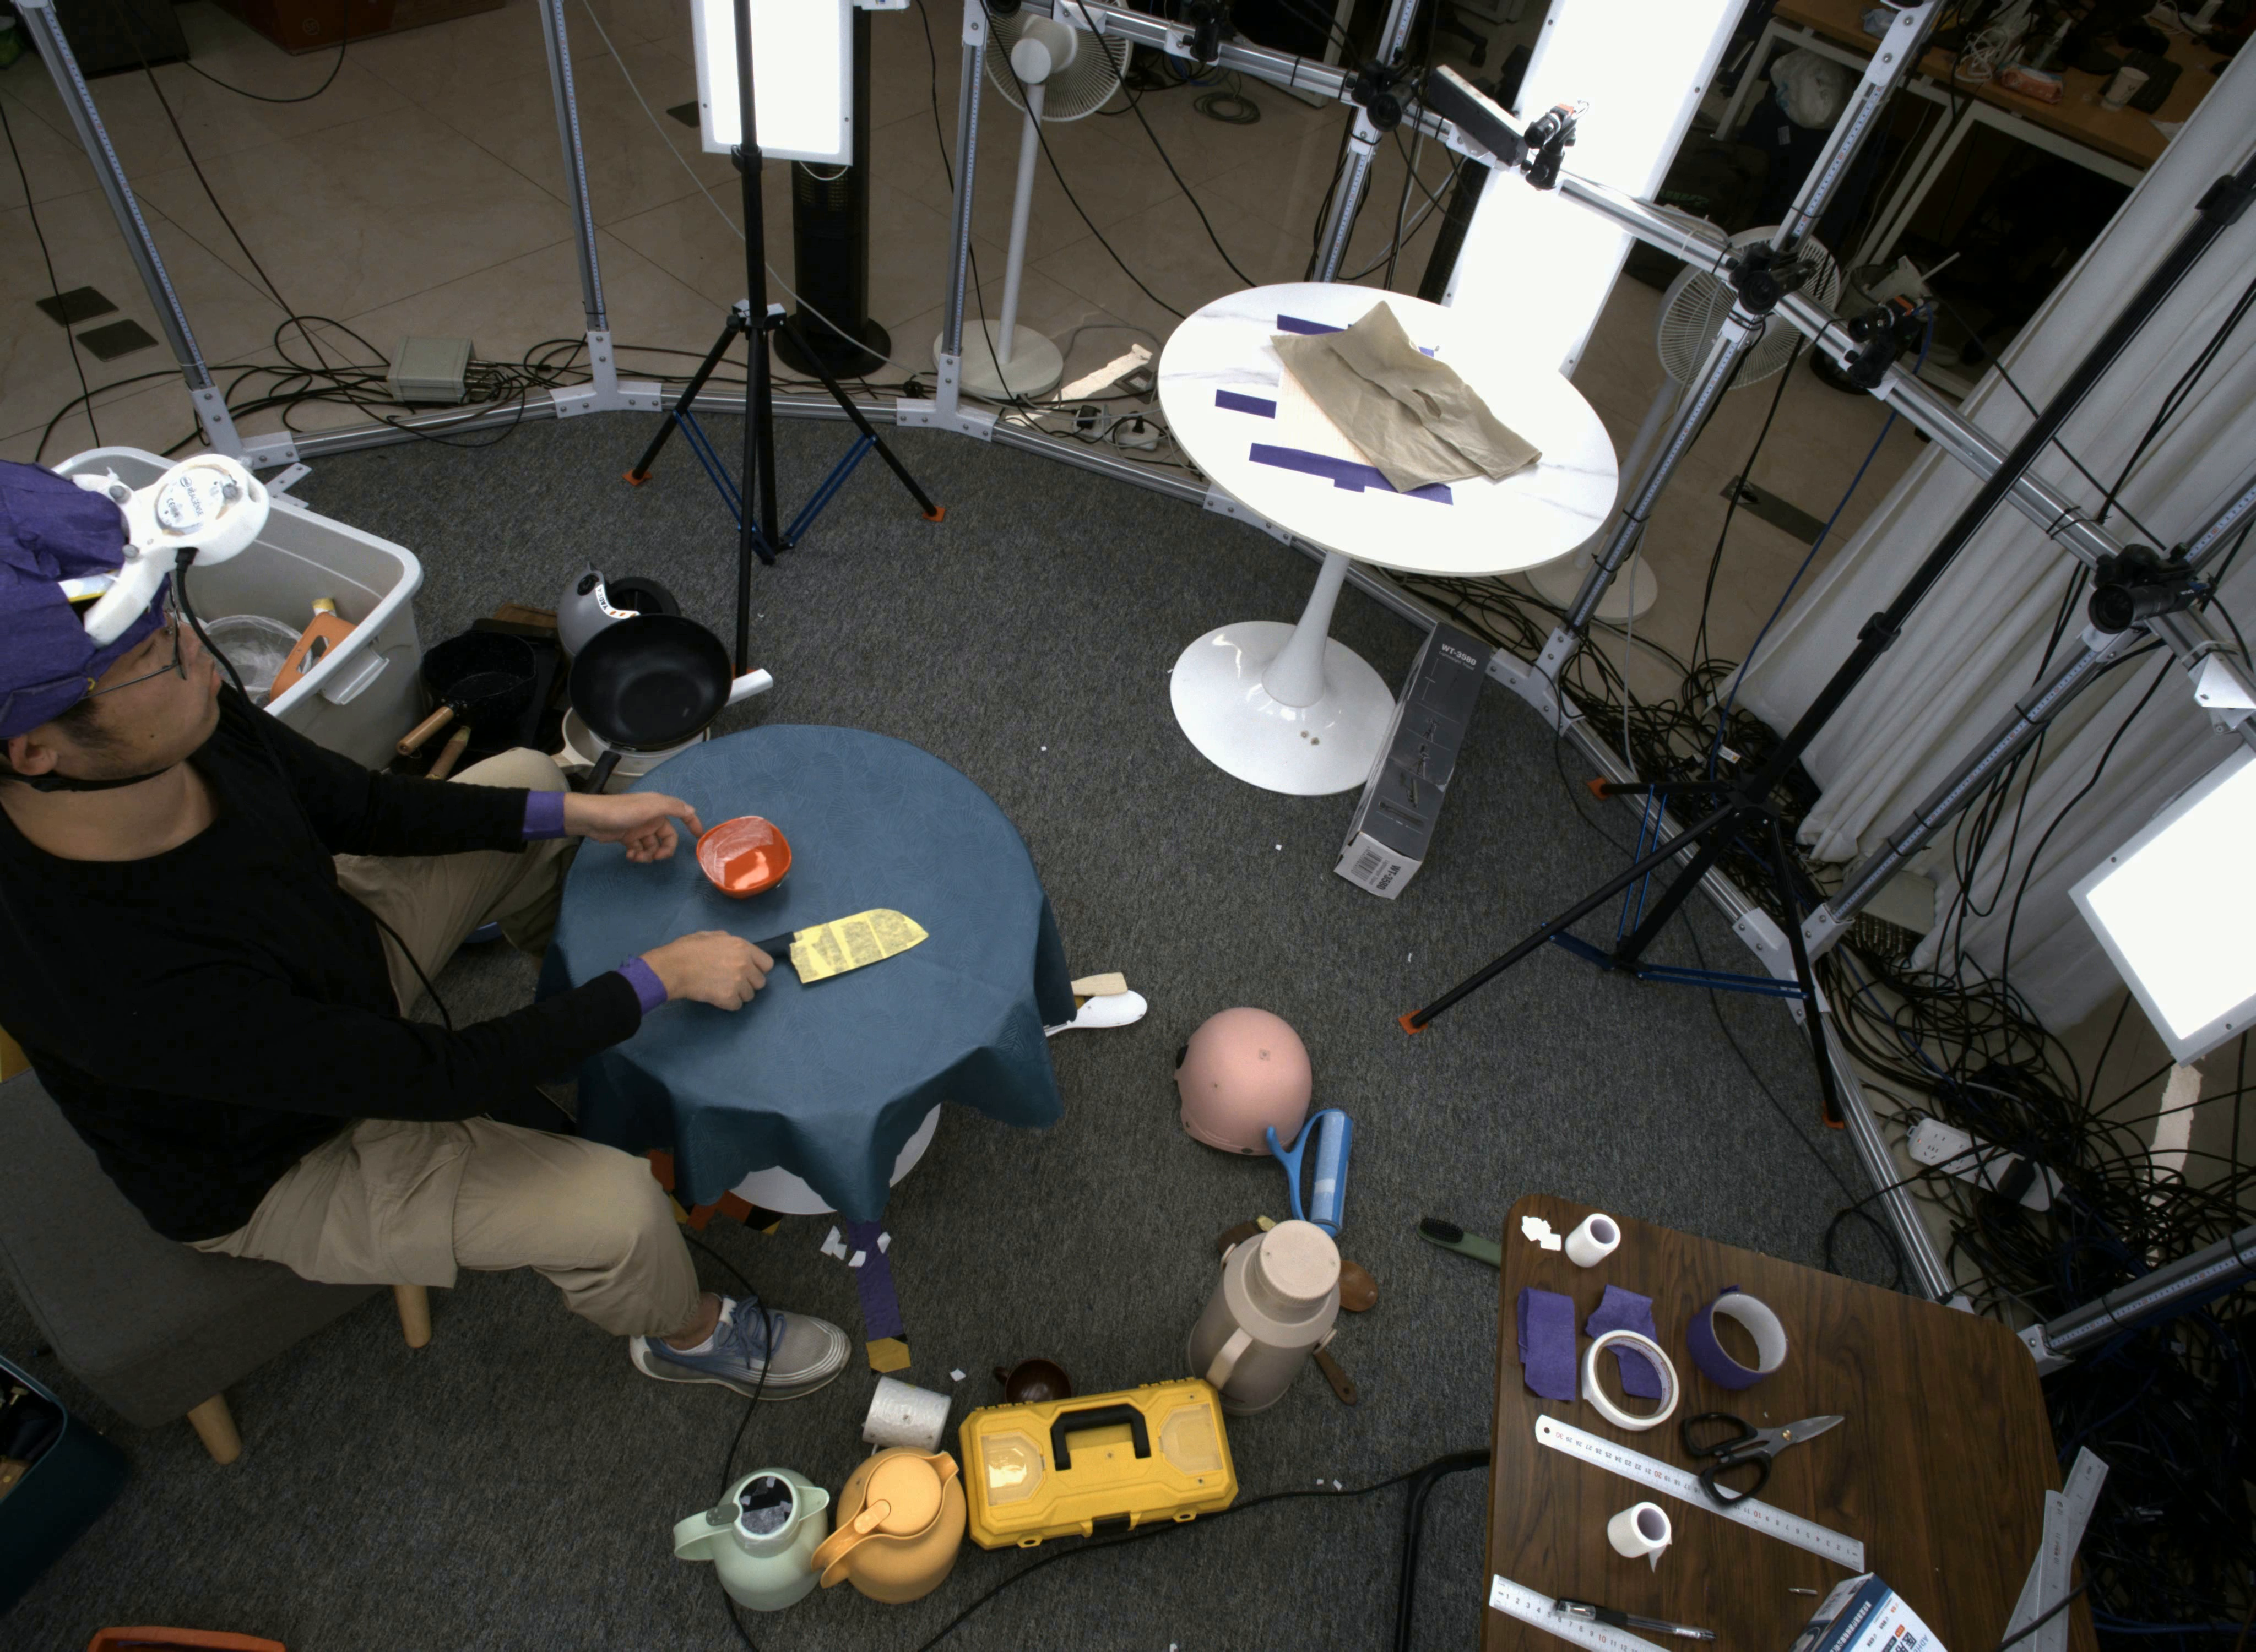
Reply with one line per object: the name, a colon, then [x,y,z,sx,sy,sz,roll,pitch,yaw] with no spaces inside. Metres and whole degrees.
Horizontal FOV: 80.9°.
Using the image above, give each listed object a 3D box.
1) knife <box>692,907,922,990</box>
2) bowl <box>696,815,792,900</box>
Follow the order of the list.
knife: [-0.391,0.156,1.603,0.291,0.028,0.079,-15,59,-26]
bowl: [-0.485,0.046,1.637,0.119,0.052,0.117,9,53,-10]
